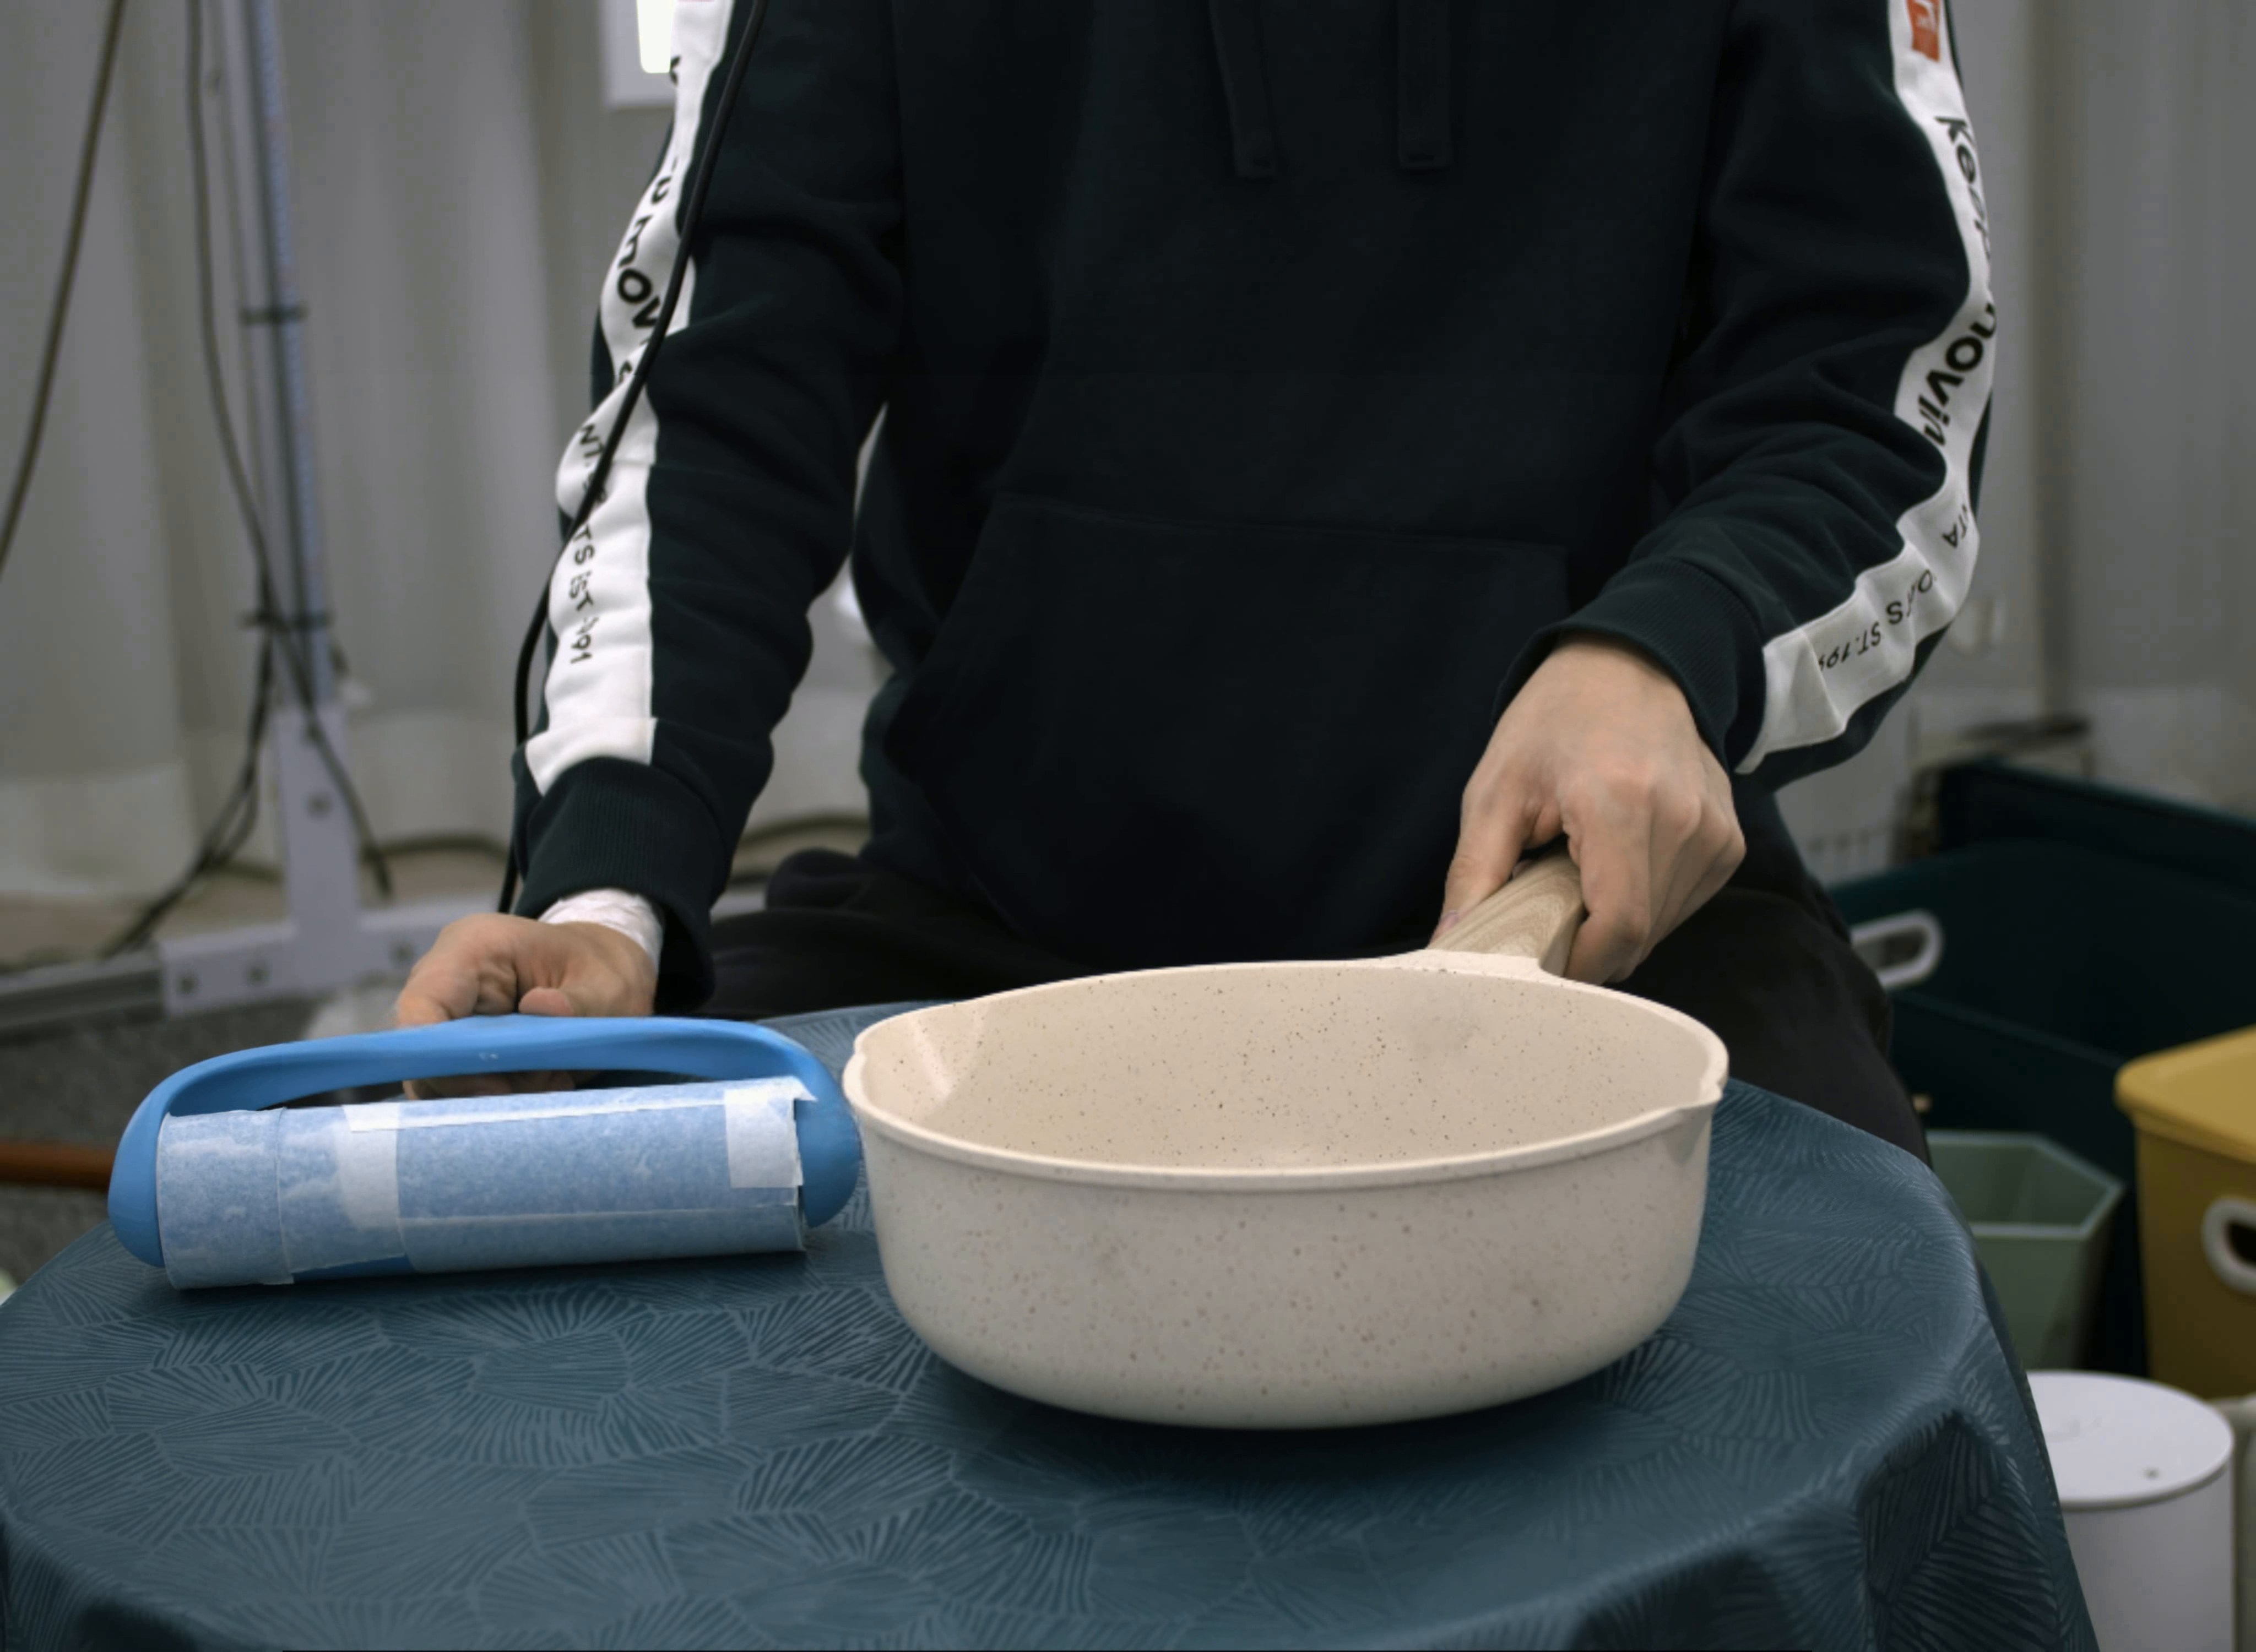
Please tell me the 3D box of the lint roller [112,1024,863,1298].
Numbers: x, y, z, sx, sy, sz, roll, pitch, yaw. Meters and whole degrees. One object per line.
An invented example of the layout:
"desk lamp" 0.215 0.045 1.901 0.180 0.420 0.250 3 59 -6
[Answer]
"lint roller" -0.200 0.093 1.725 0.228 0.067 0.181 -6 16 -4

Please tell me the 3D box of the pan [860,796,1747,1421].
"pan" 0.089 0.080 1.634 0.264 0.102 0.435 2 11 25
